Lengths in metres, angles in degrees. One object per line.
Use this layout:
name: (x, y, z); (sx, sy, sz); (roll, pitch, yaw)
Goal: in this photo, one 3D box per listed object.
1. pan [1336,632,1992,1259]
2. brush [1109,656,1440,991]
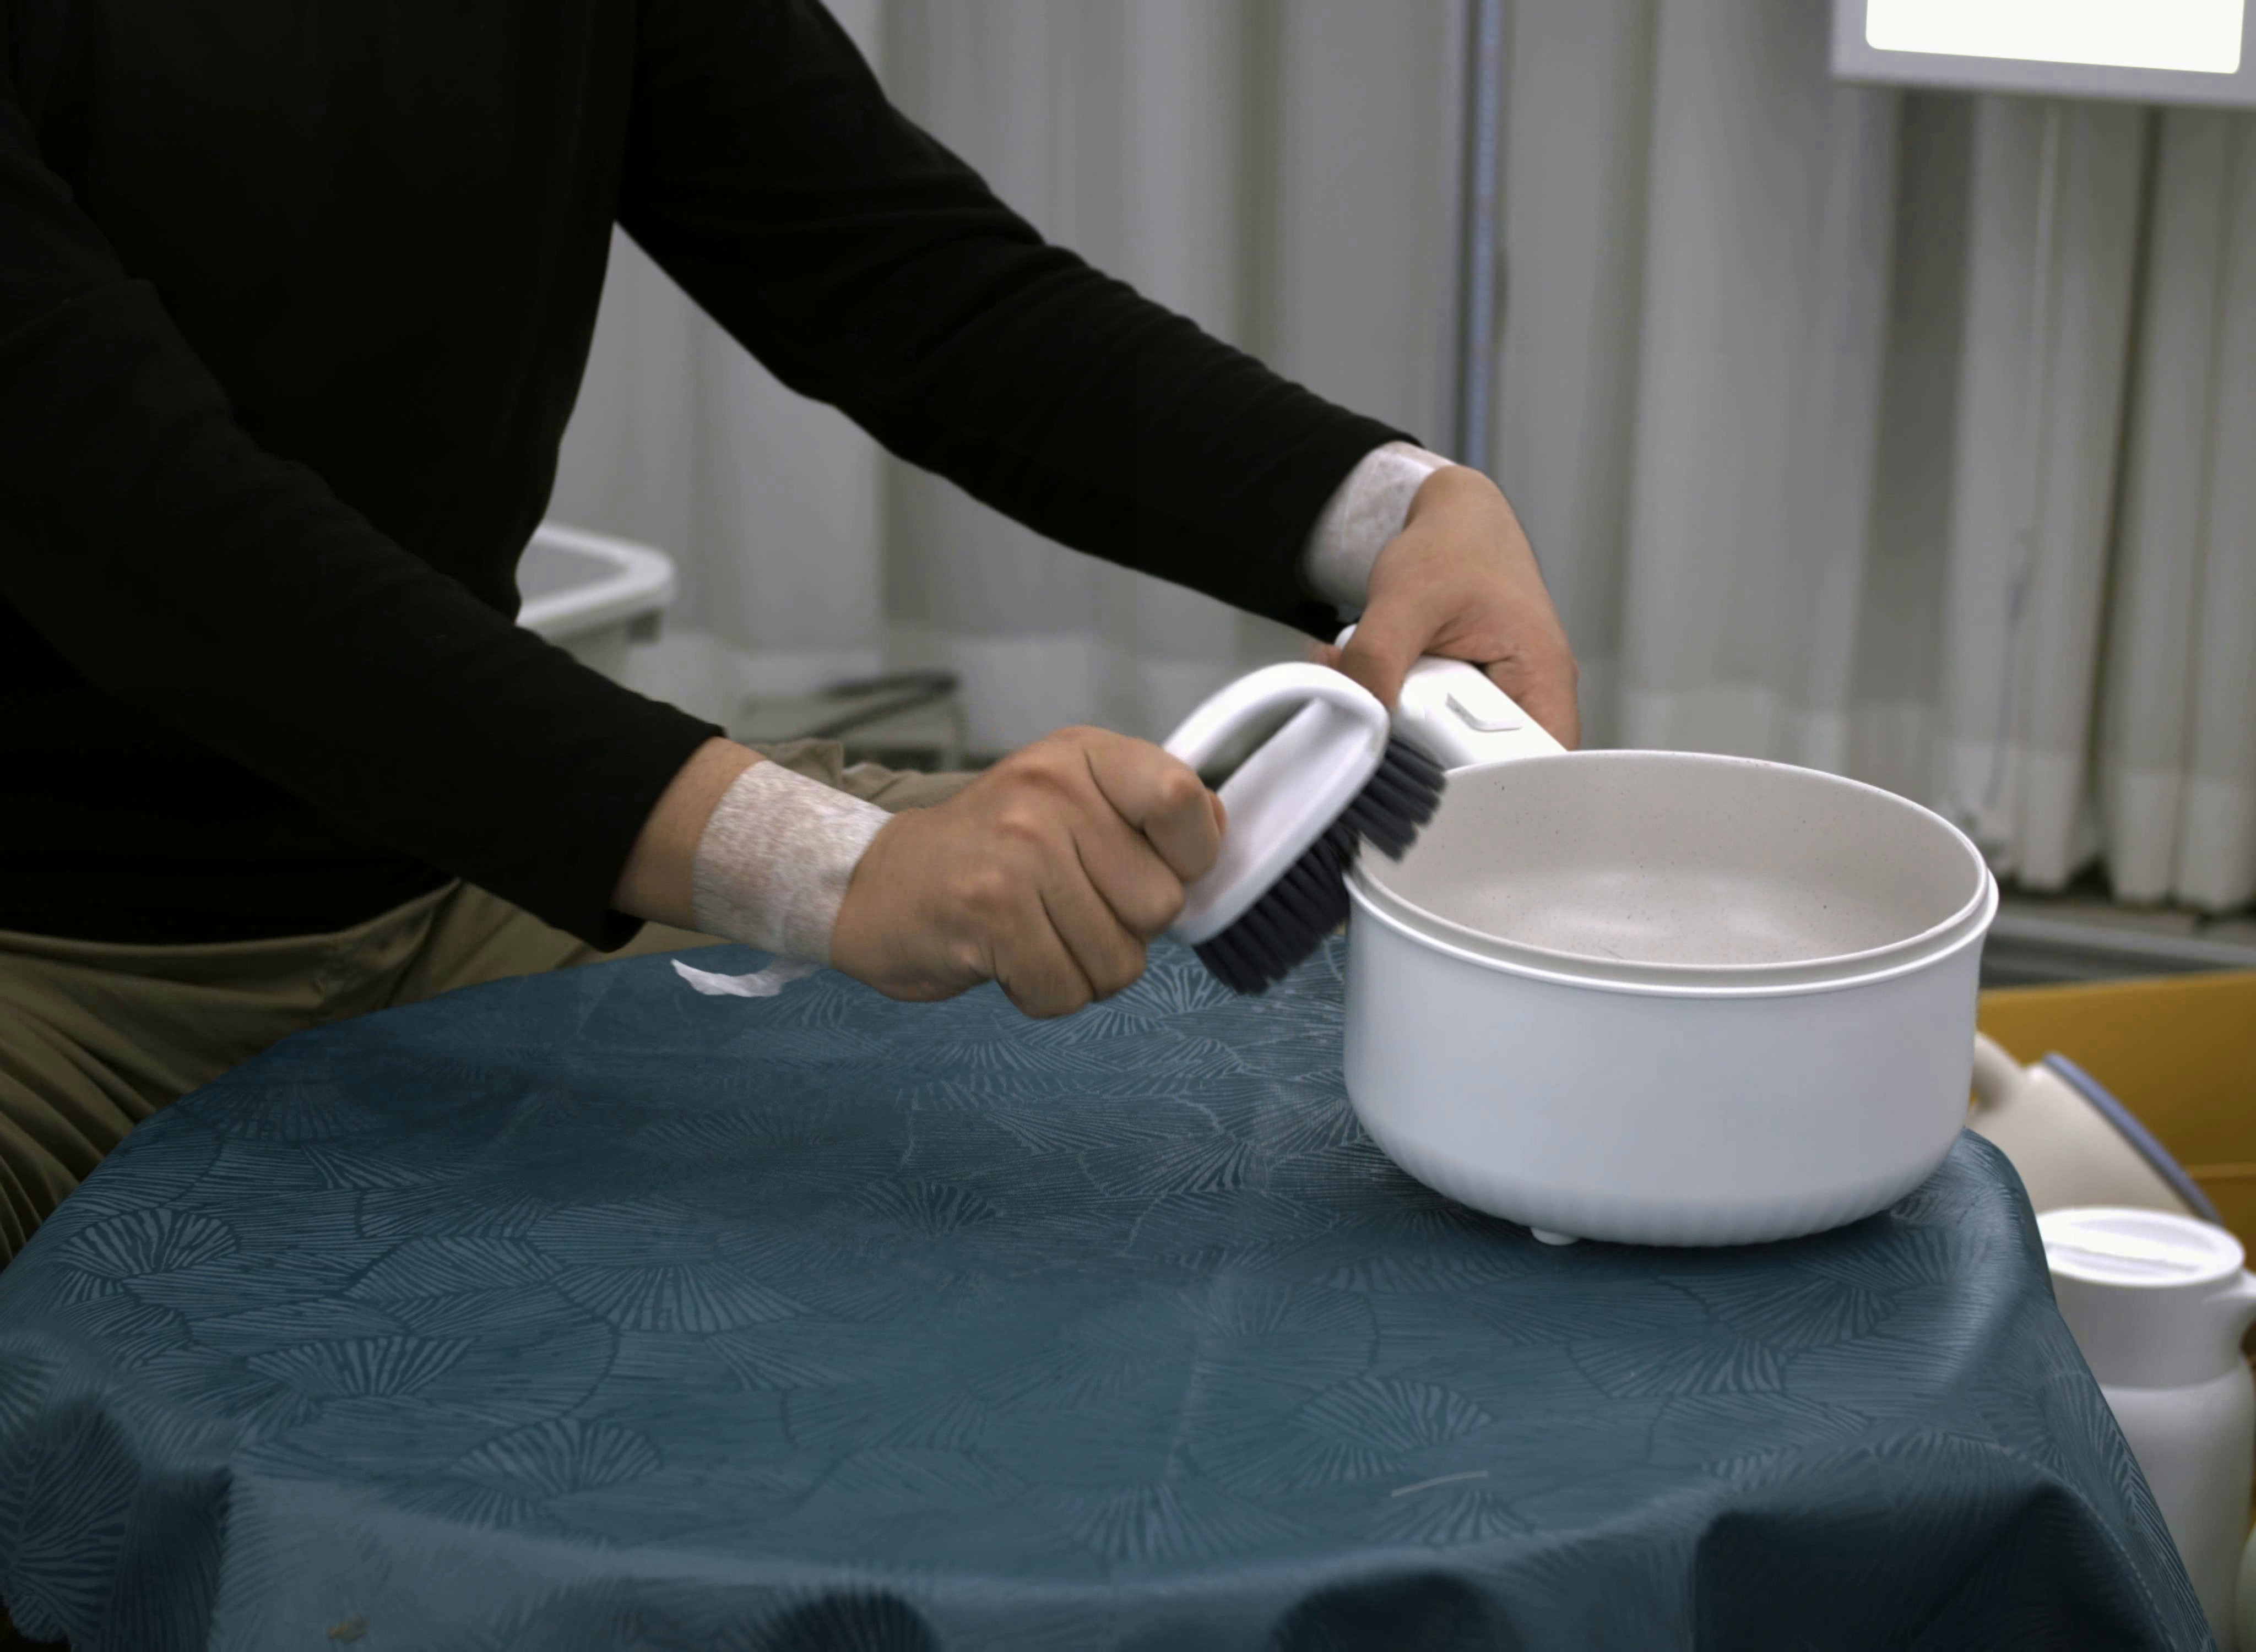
pan: (0.141, 0.034, 1.695); (0.201, 0.103, 0.351); (-7, 21, -16)
brush: (0.037, -0.007, 1.604); (0.073, 0.099, 0.049); (41, 3, -30)
